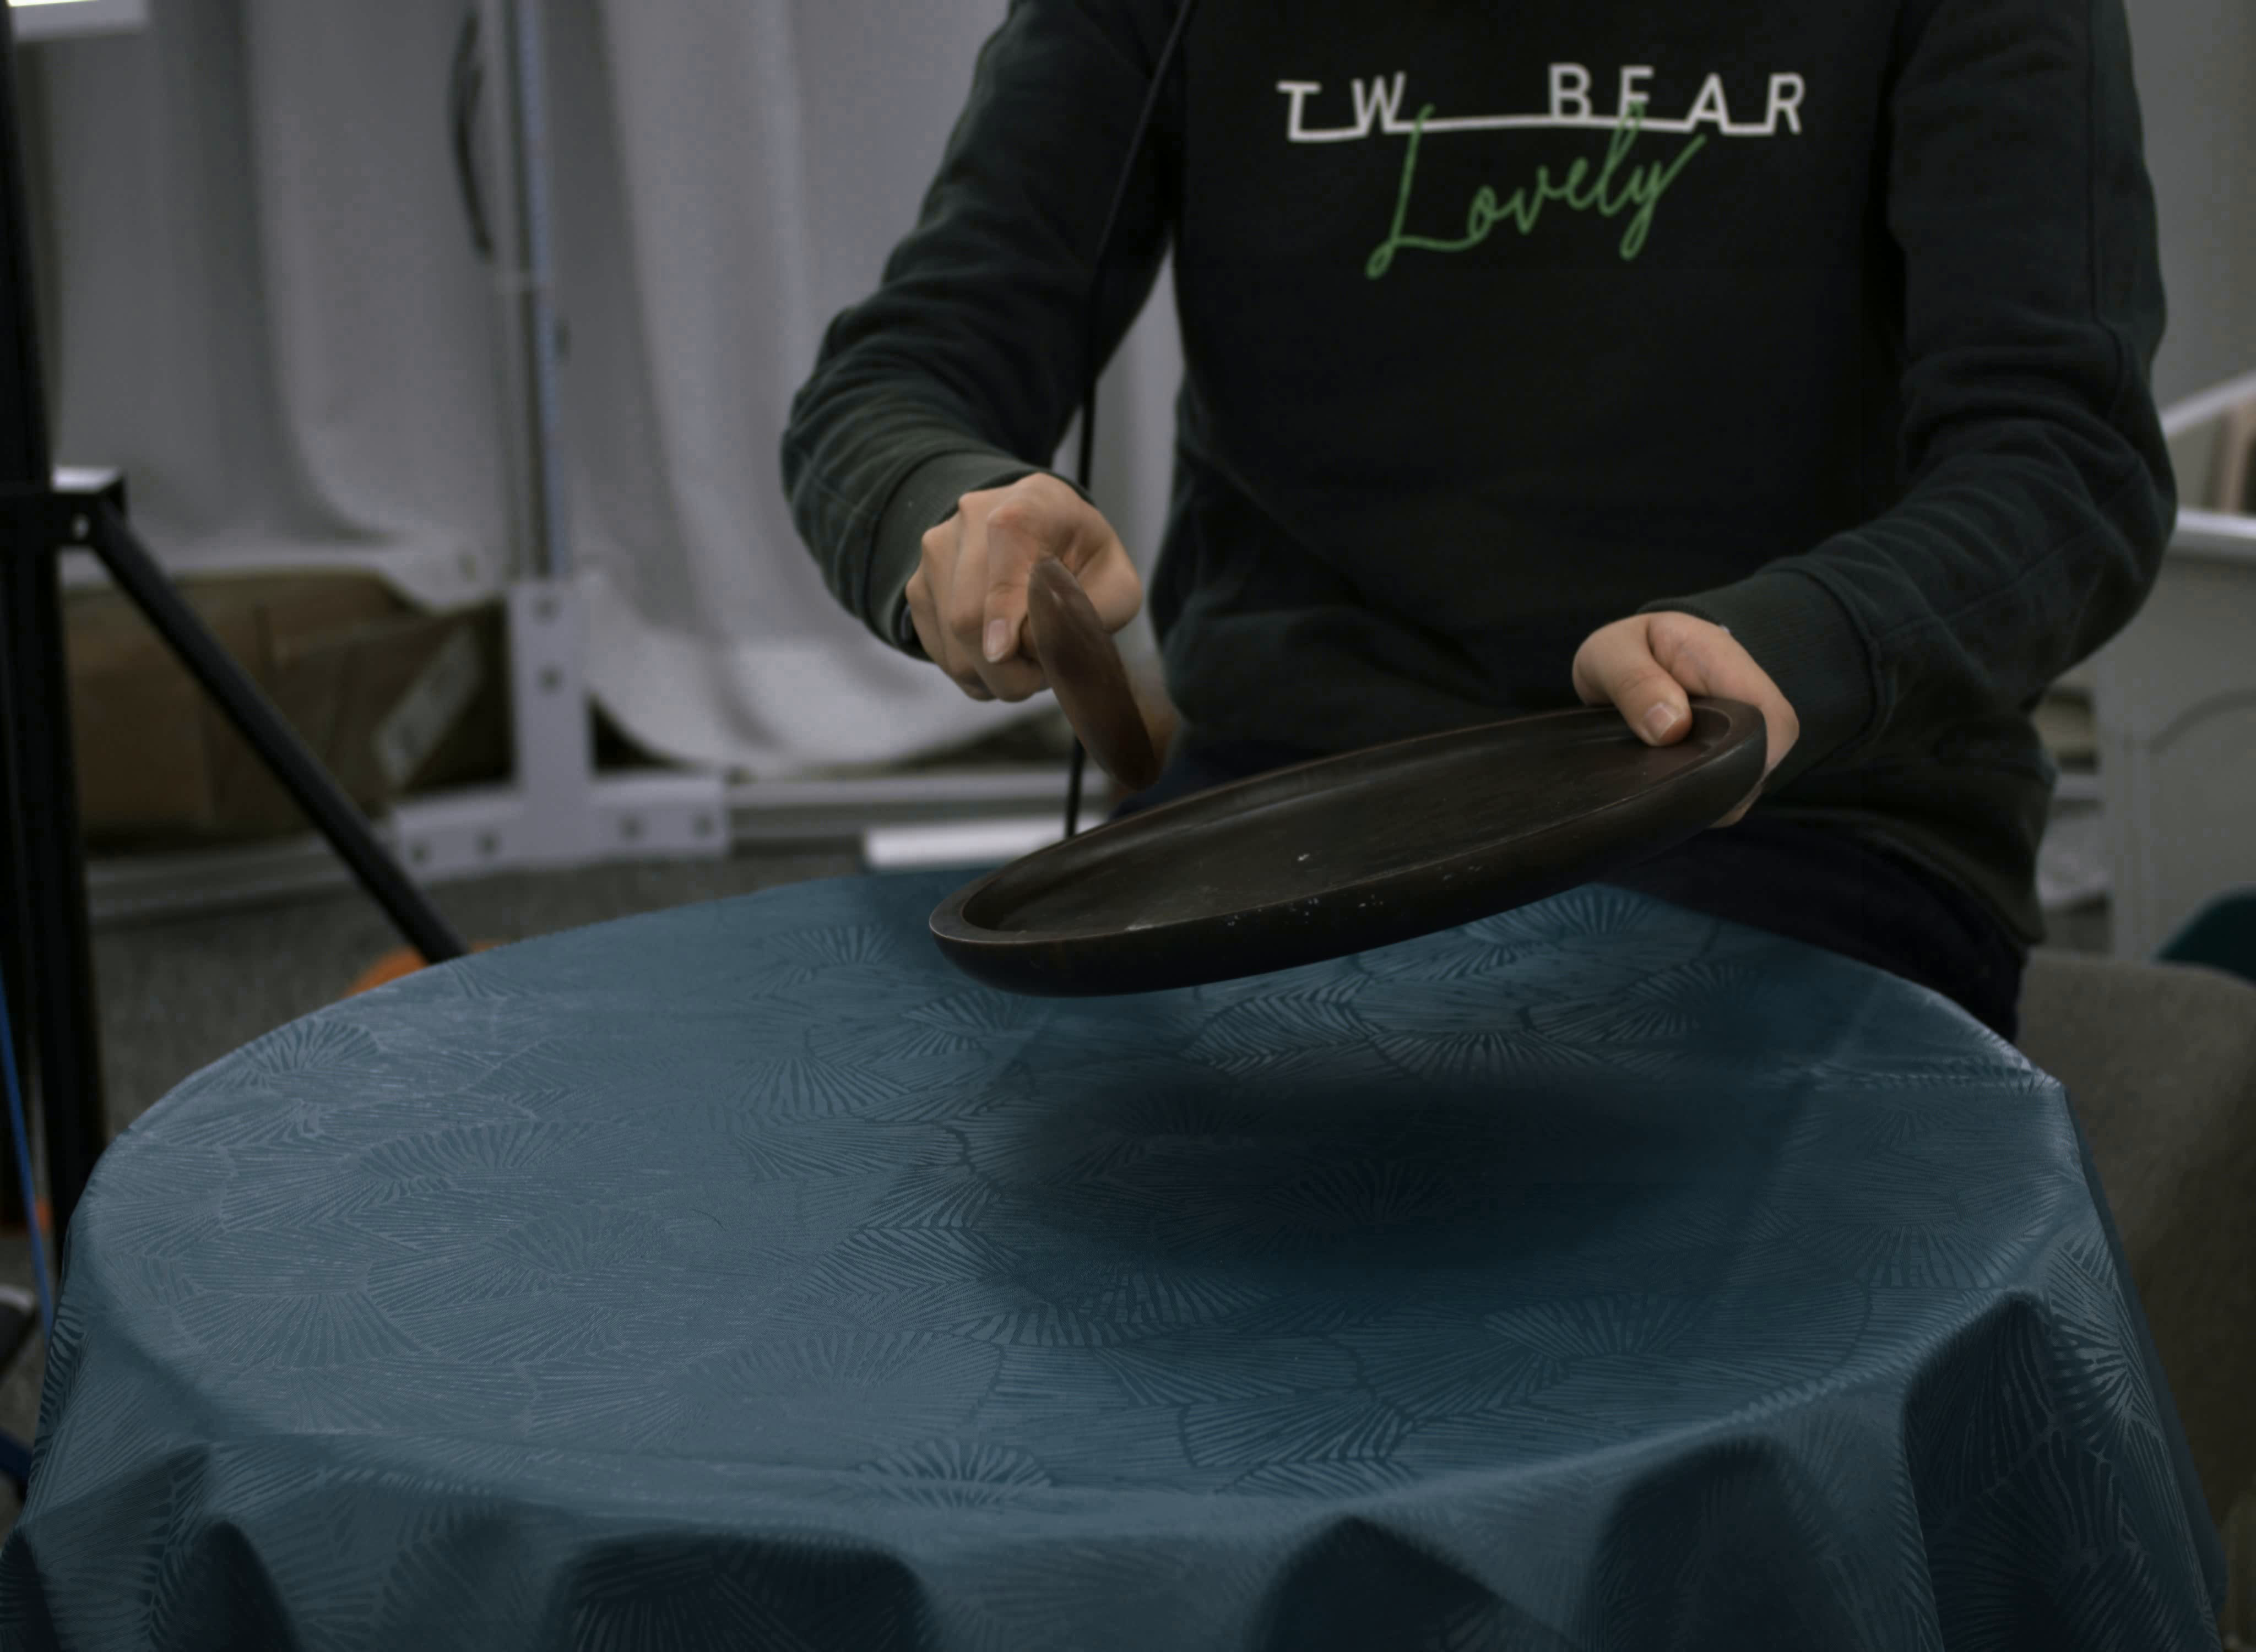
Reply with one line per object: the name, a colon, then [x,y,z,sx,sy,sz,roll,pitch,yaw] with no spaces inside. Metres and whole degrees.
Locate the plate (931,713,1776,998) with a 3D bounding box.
plate: [0.067,0.007,1.557,0.254,0.029,0.255,-14,9,1]

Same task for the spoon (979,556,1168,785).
spoon: [-0.023,-0.053,1.624,0.017,0.075,0.218,-27,12,-5]
